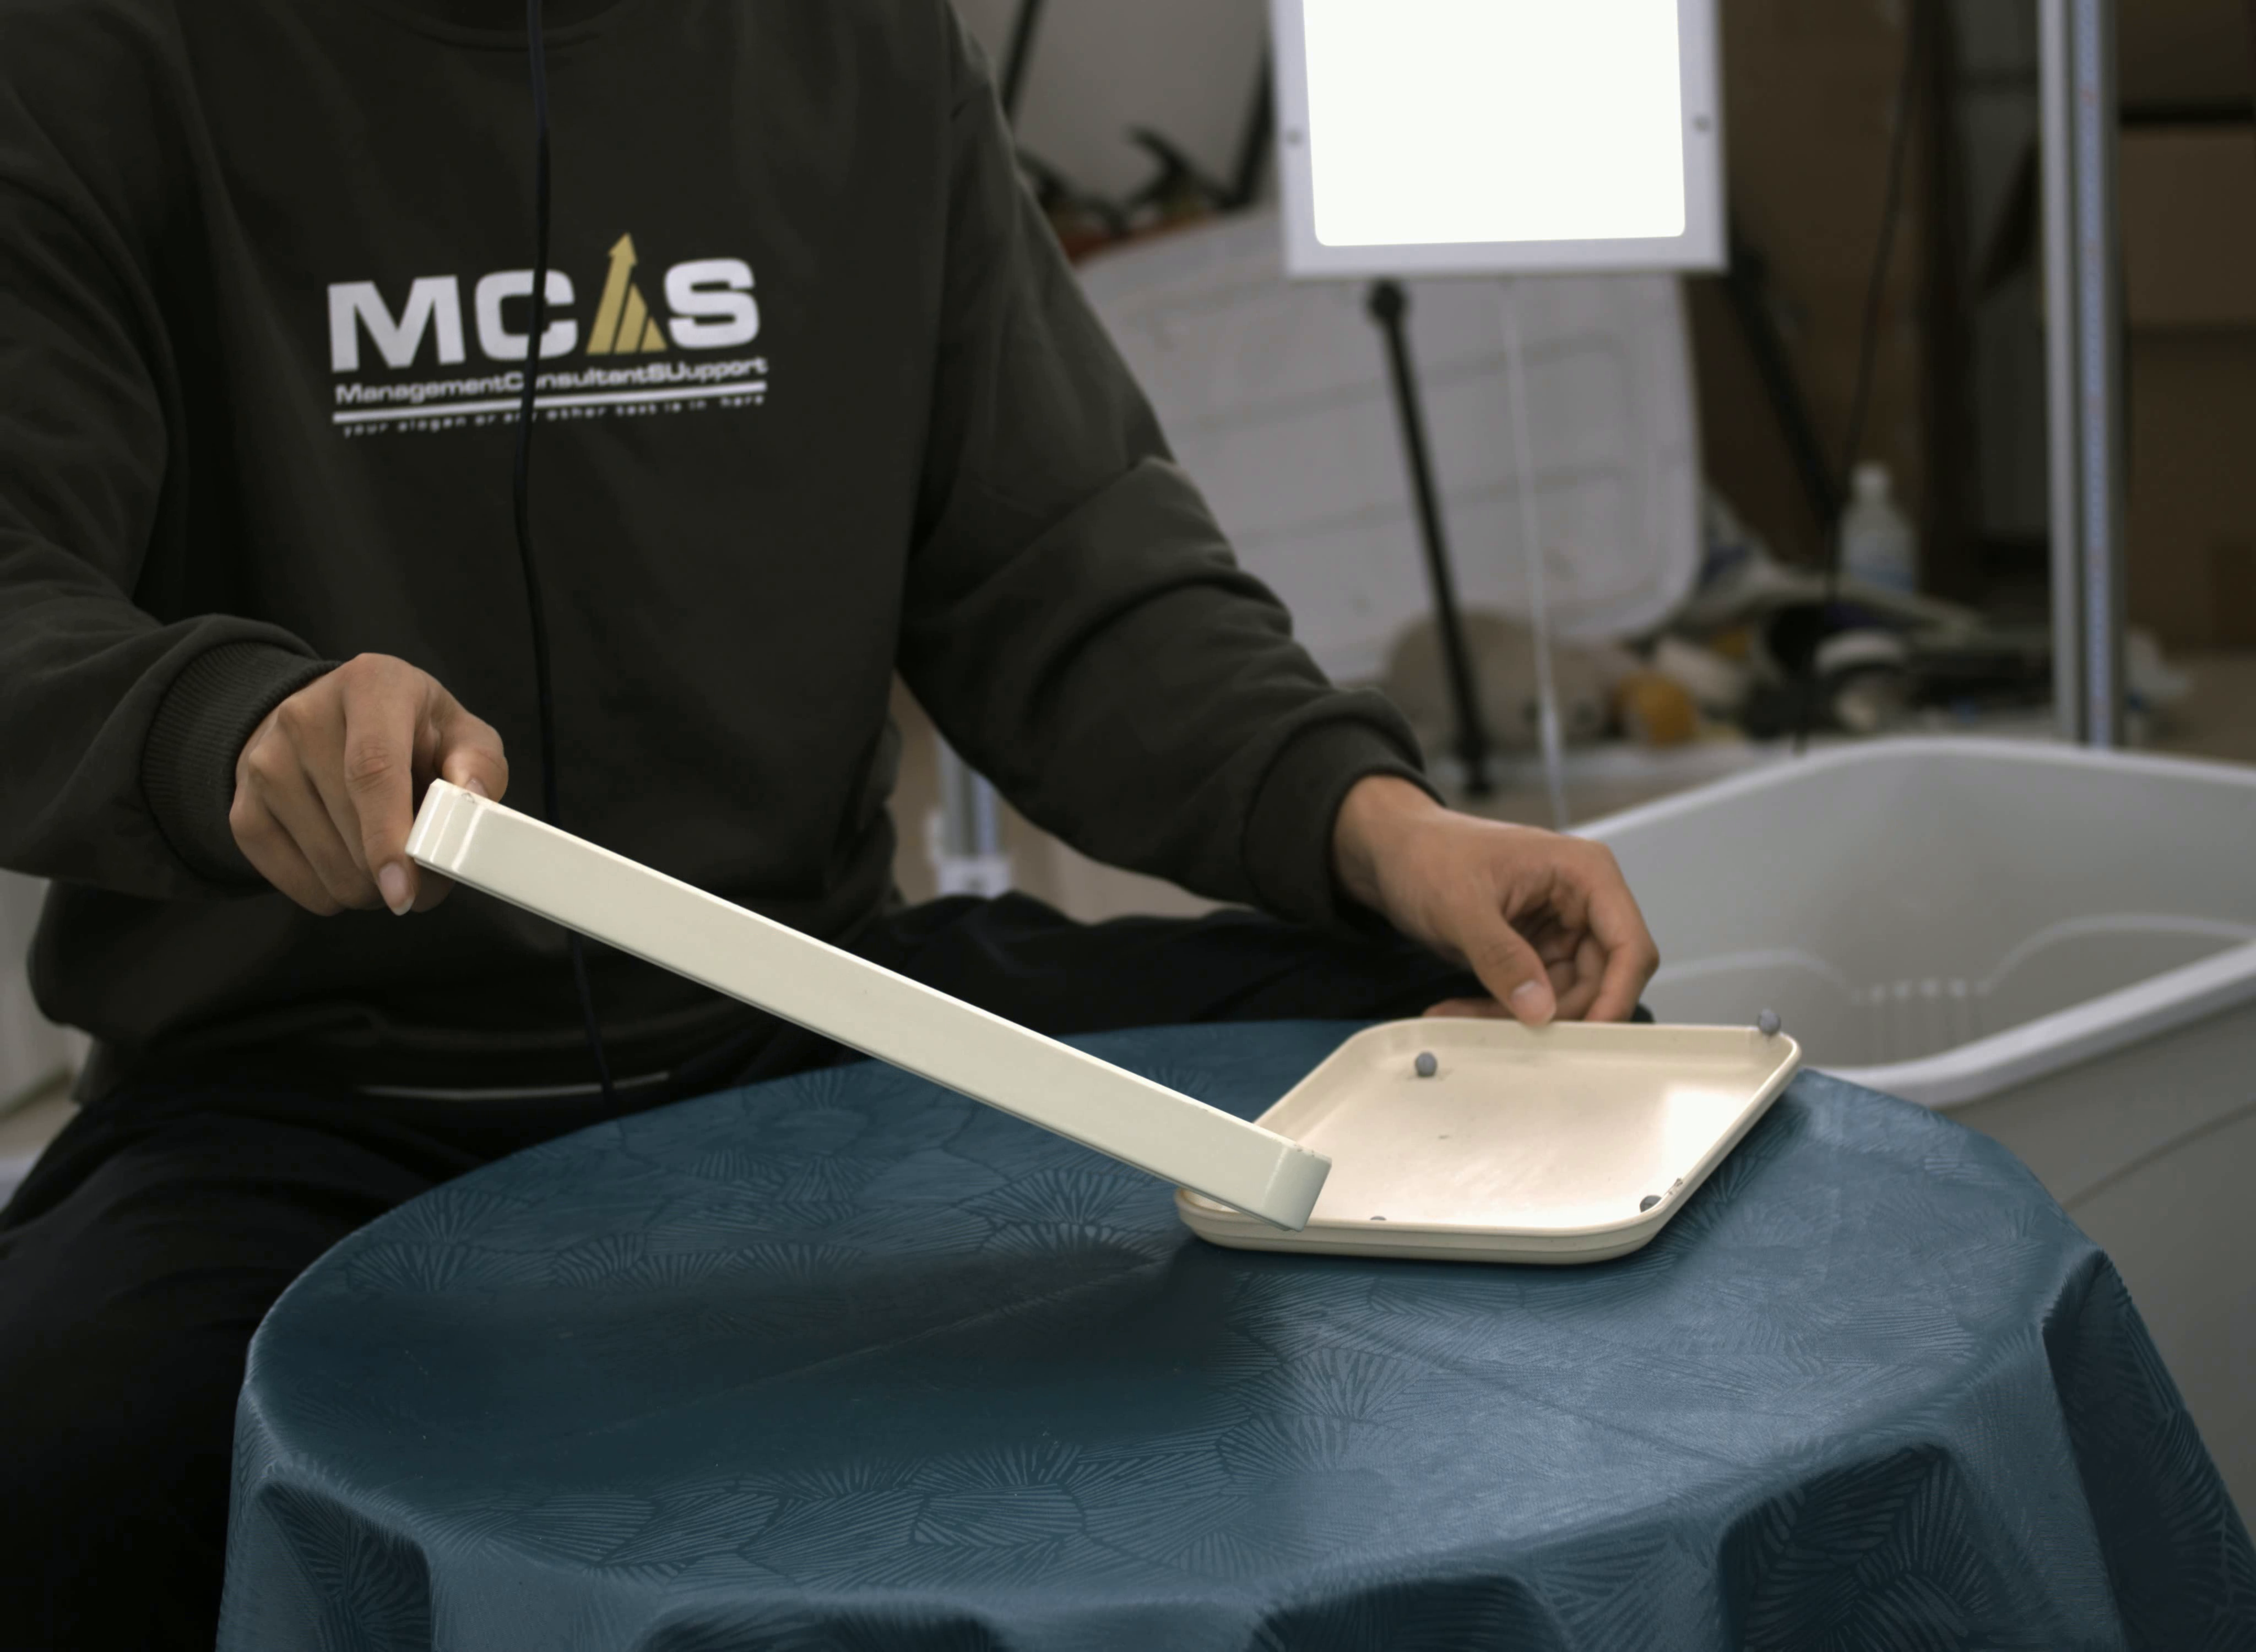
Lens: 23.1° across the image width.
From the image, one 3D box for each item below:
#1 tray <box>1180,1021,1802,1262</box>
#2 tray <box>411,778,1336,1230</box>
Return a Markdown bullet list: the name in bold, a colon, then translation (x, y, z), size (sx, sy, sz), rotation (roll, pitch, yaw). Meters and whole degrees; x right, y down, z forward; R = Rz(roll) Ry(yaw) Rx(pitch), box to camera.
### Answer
- **tray**: translation (0.129, 0.108, 1.895), size (0.174, 0.017, 0.235), rotation (0, 14, 23)
- **tray**: translation (-0.083, 0.058, 1.757), size (0.299, 0.027, 0.192), rotation (23, -3, -1)
